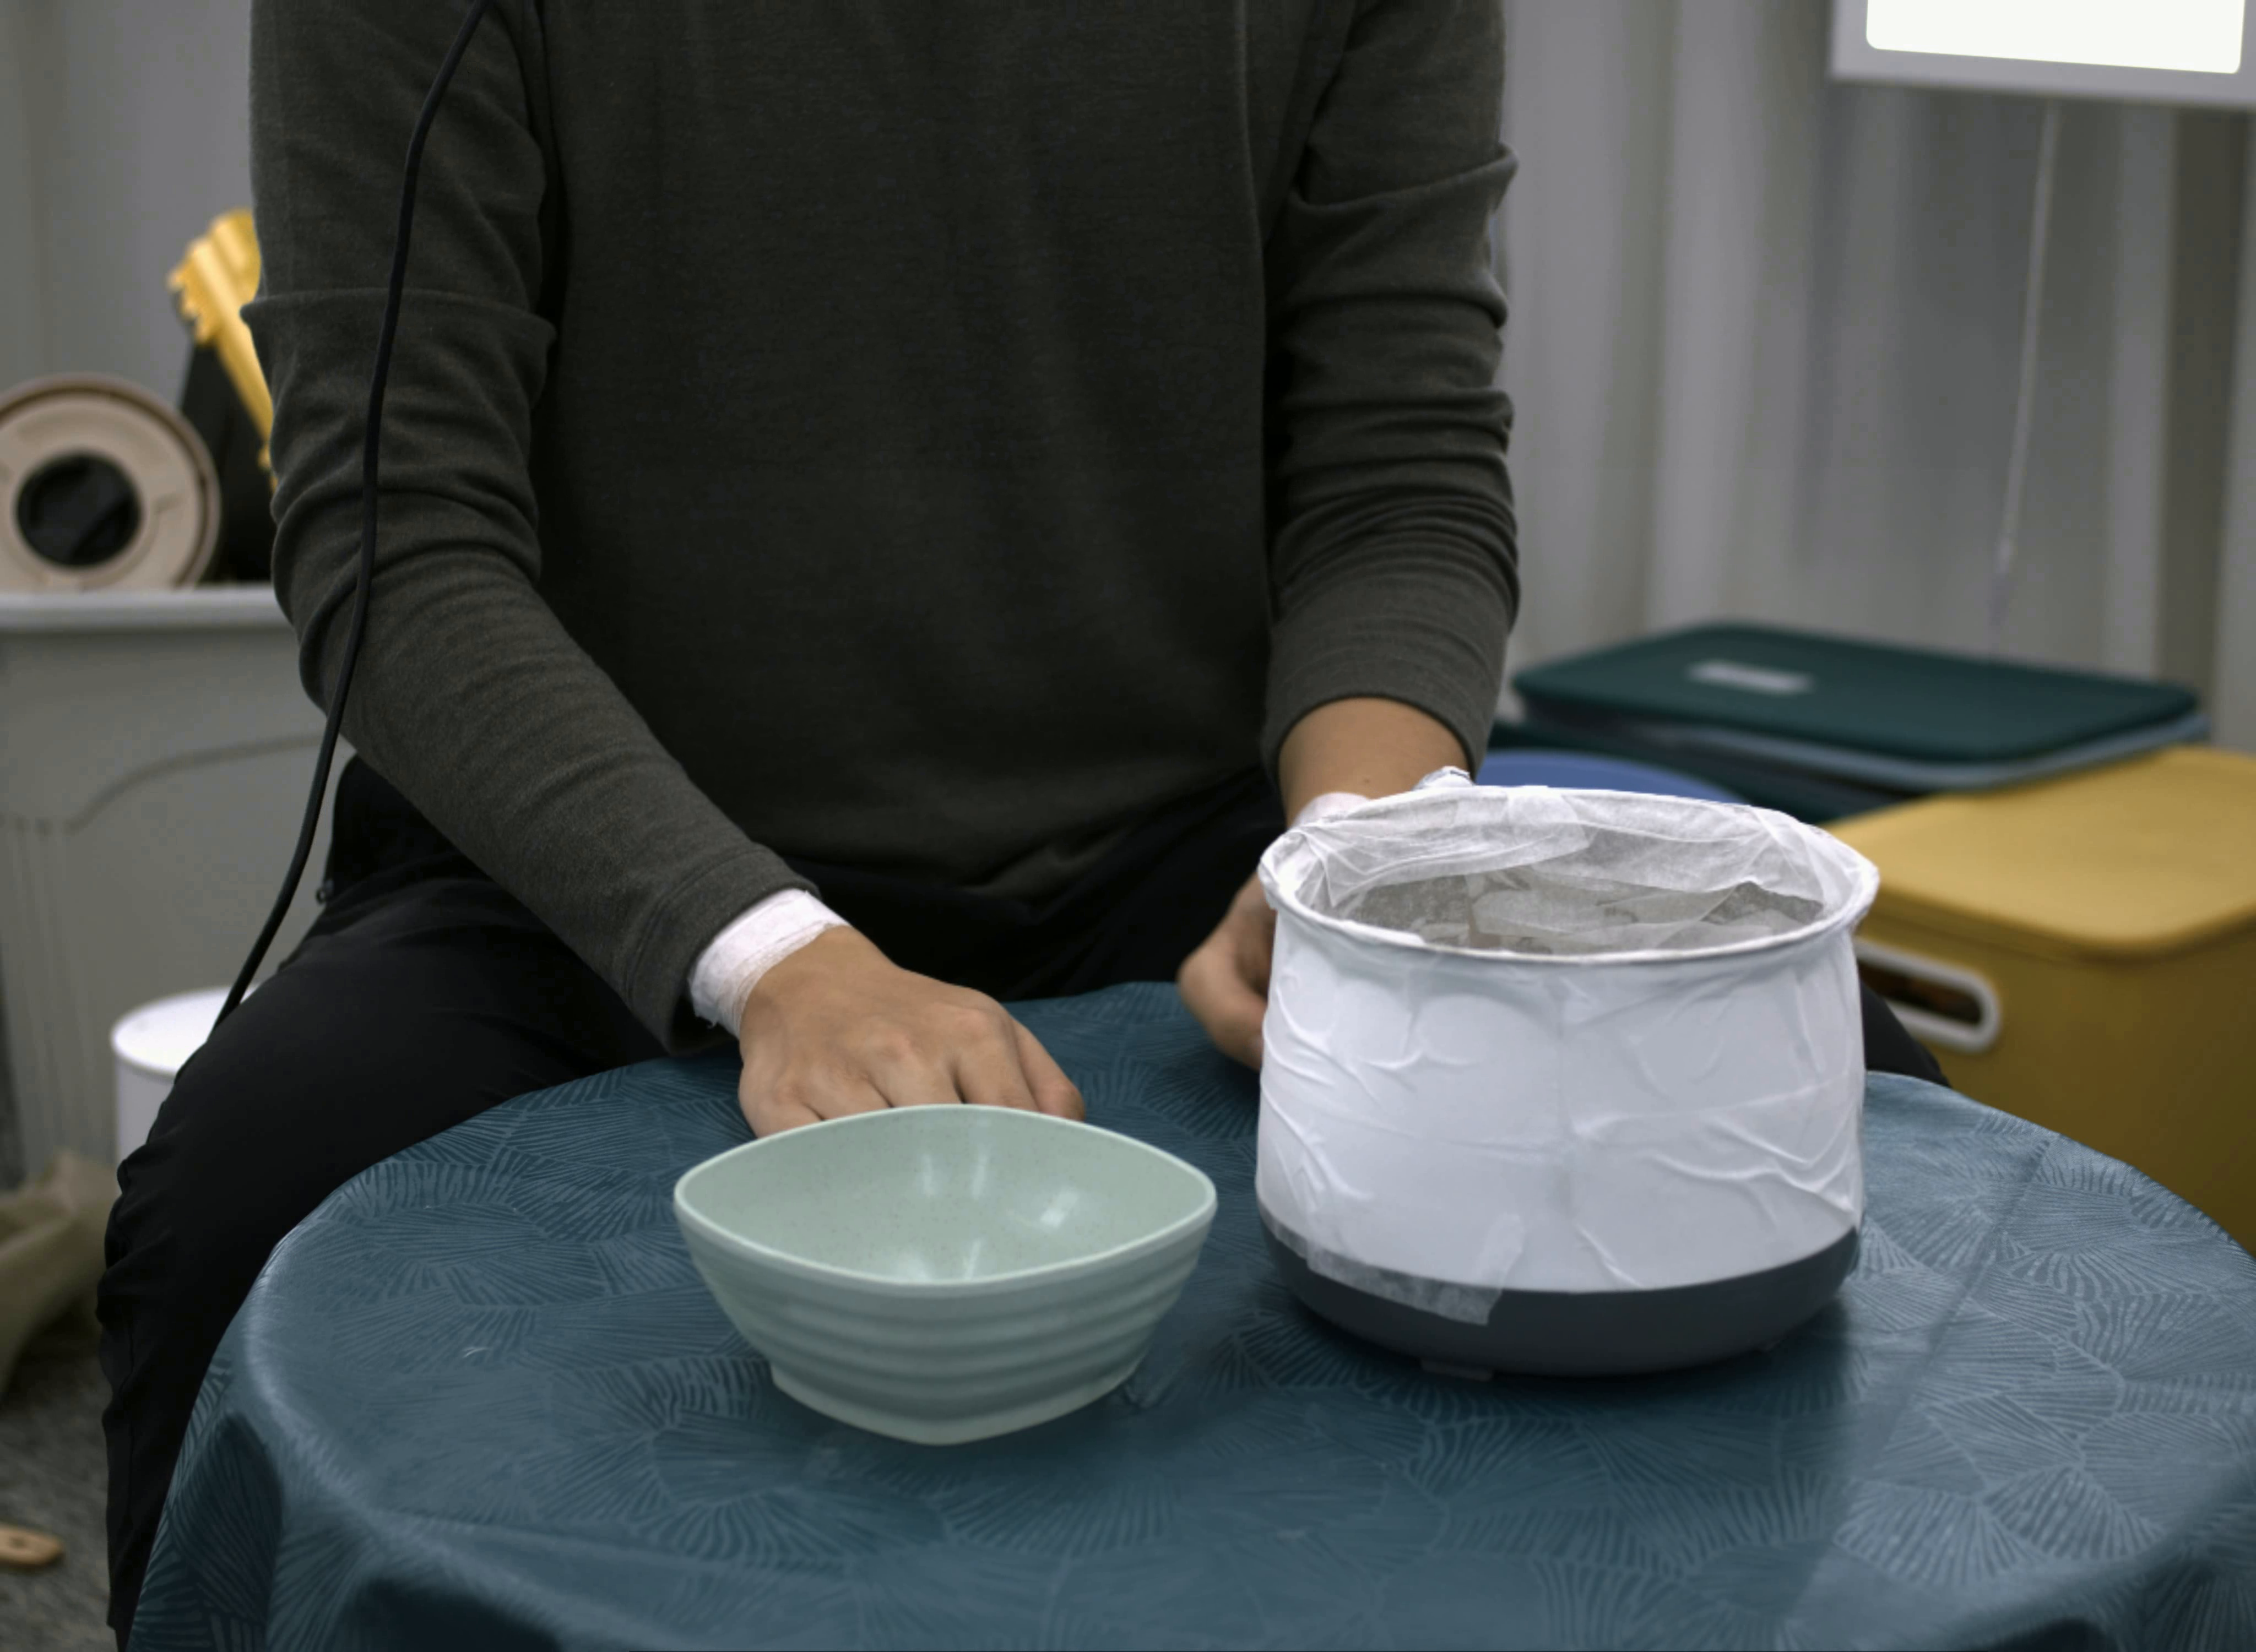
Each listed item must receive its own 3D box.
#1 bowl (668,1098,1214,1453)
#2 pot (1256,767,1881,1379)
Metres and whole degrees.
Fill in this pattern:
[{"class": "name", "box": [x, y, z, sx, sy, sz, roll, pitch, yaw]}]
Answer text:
[{"class": "bowl", "box": [-0.052, 0.128, 1.461, 0.151, 0.059, 0.150, 1, 17, 0]}, {"class": "pot", "box": [0.117, 0.066, 1.540, 0.179, 0.138, 0.231, -4, 16, -18]}]
